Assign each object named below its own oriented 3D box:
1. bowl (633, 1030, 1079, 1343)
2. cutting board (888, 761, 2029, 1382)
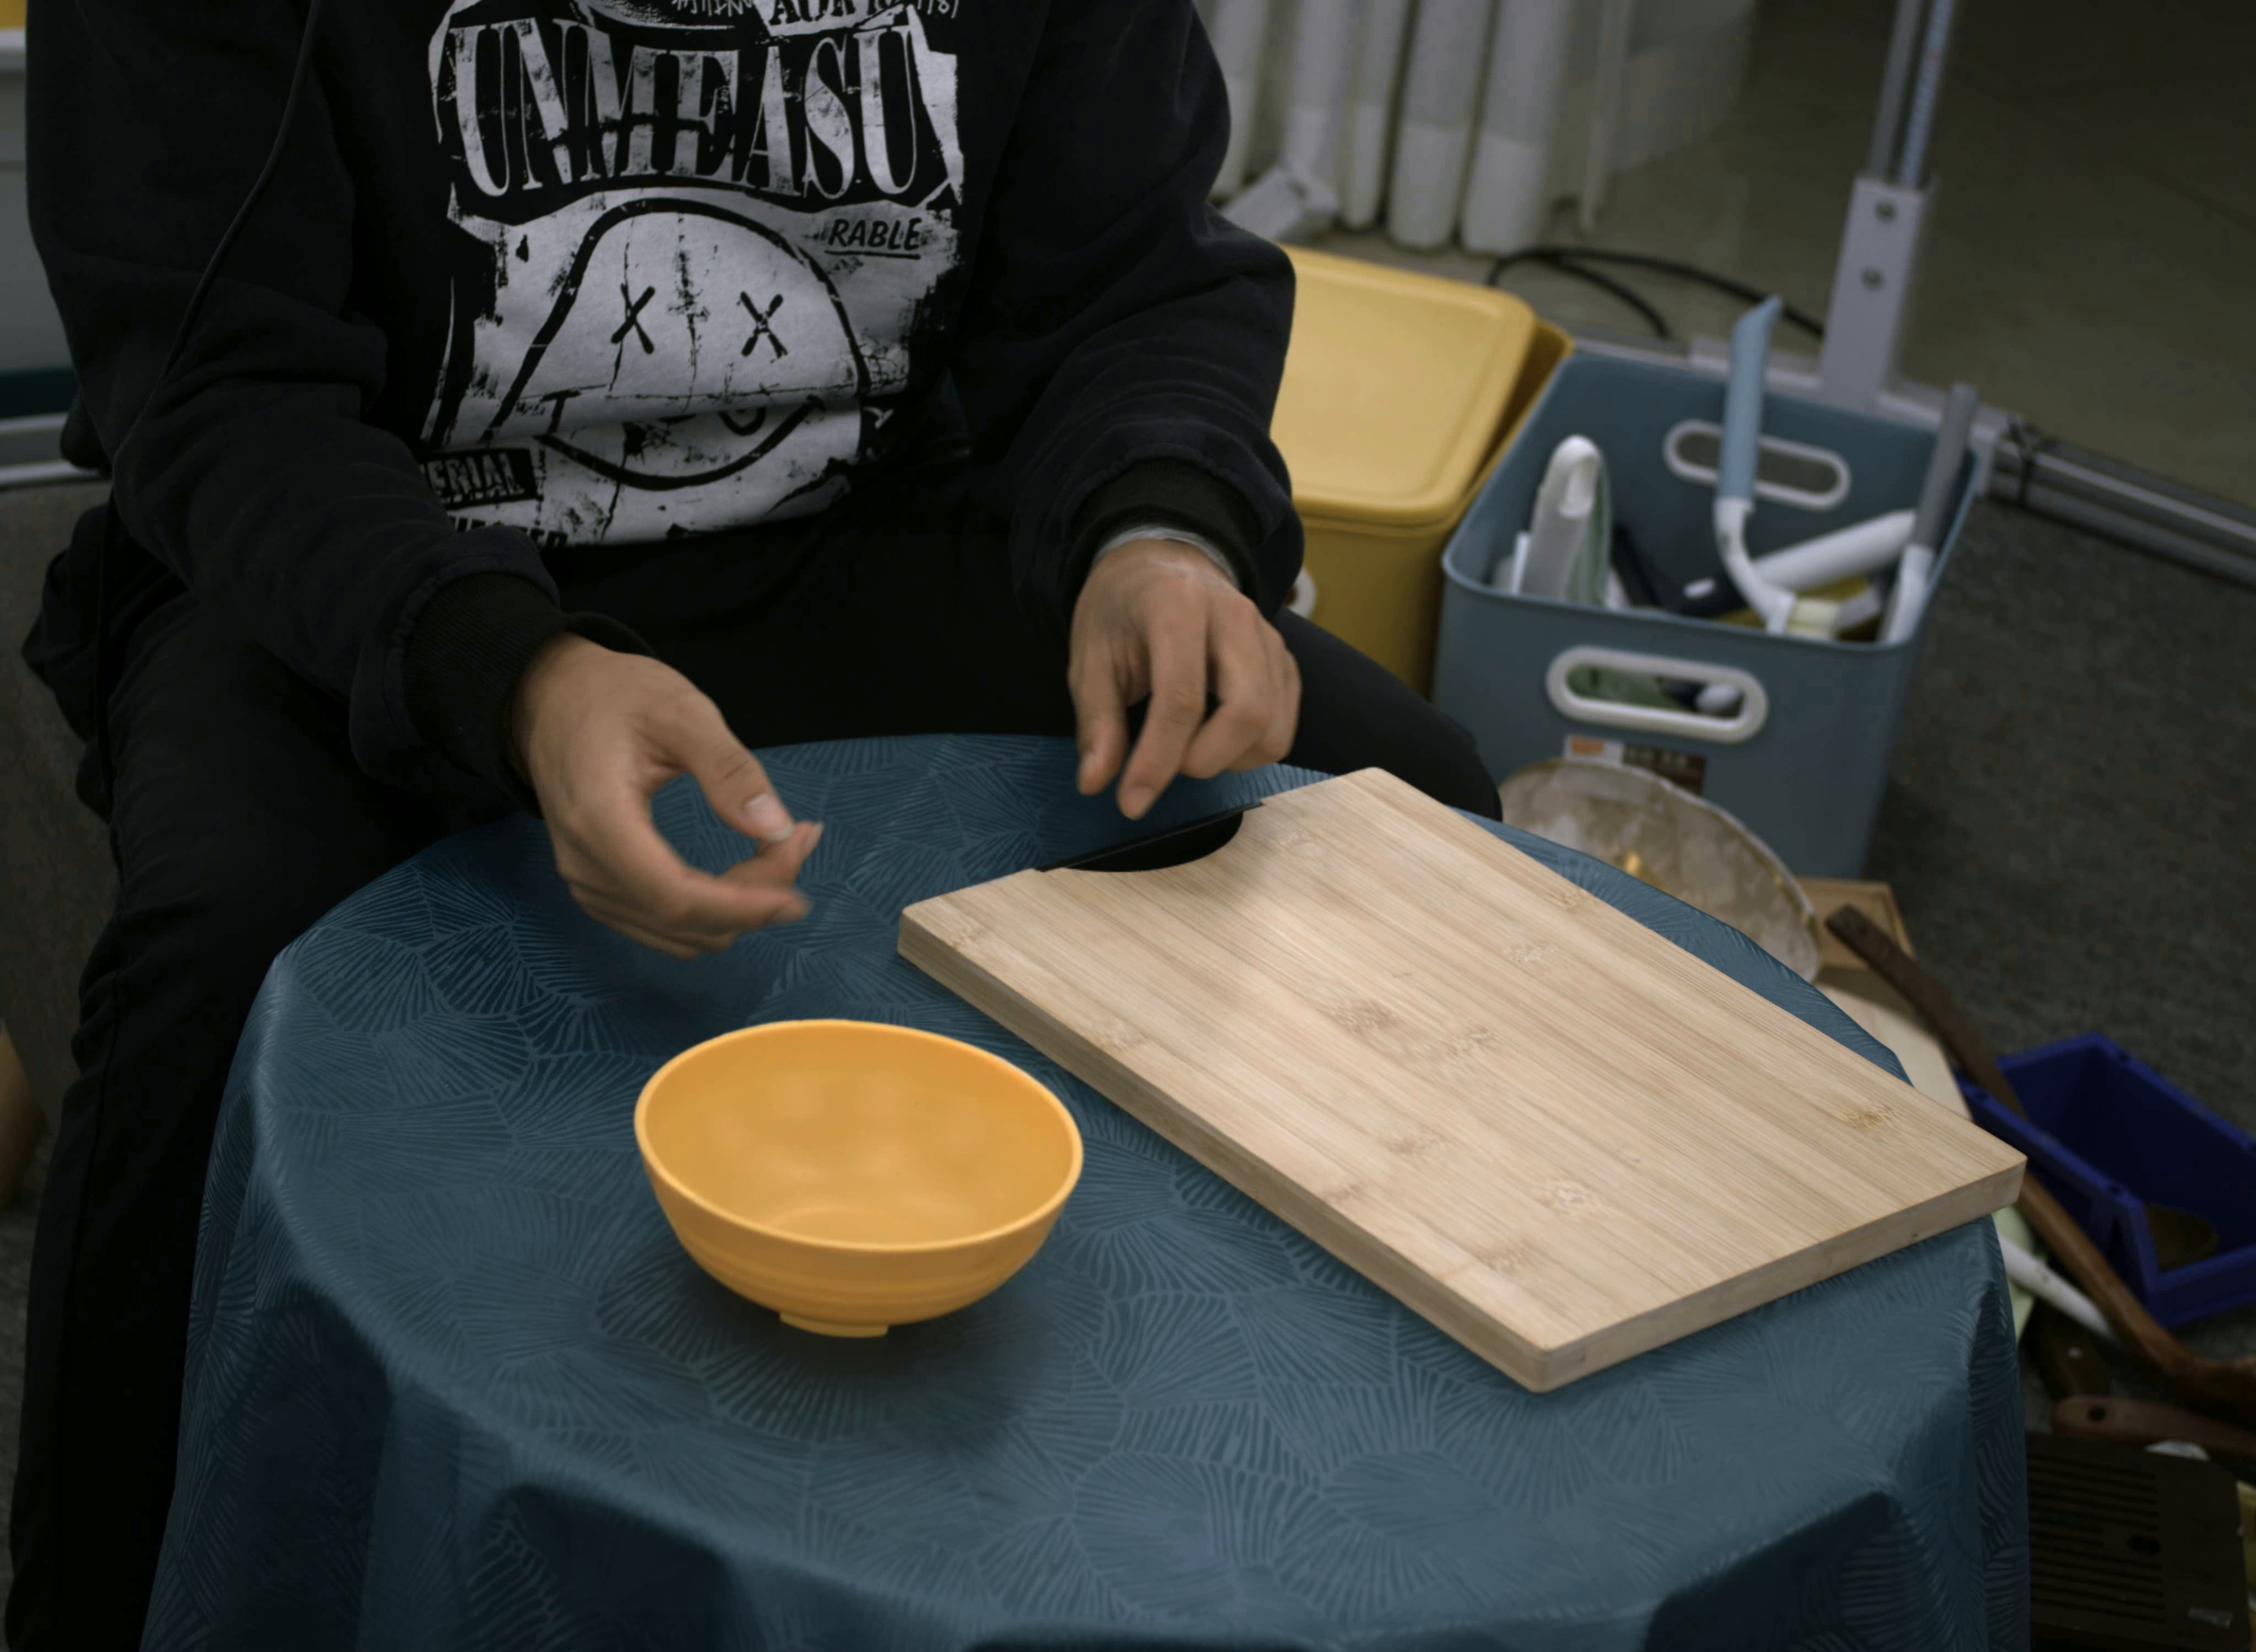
[{"bbox_3d":[-0.091,0.125,1.716,0.145,0.060,0.146,7,24,-3],"label":"bowl"},{"bbox_3d":[0.113,0.079,1.896,0.249,0.023,0.351,-17,35,-38],"label":"cutting board"}]
